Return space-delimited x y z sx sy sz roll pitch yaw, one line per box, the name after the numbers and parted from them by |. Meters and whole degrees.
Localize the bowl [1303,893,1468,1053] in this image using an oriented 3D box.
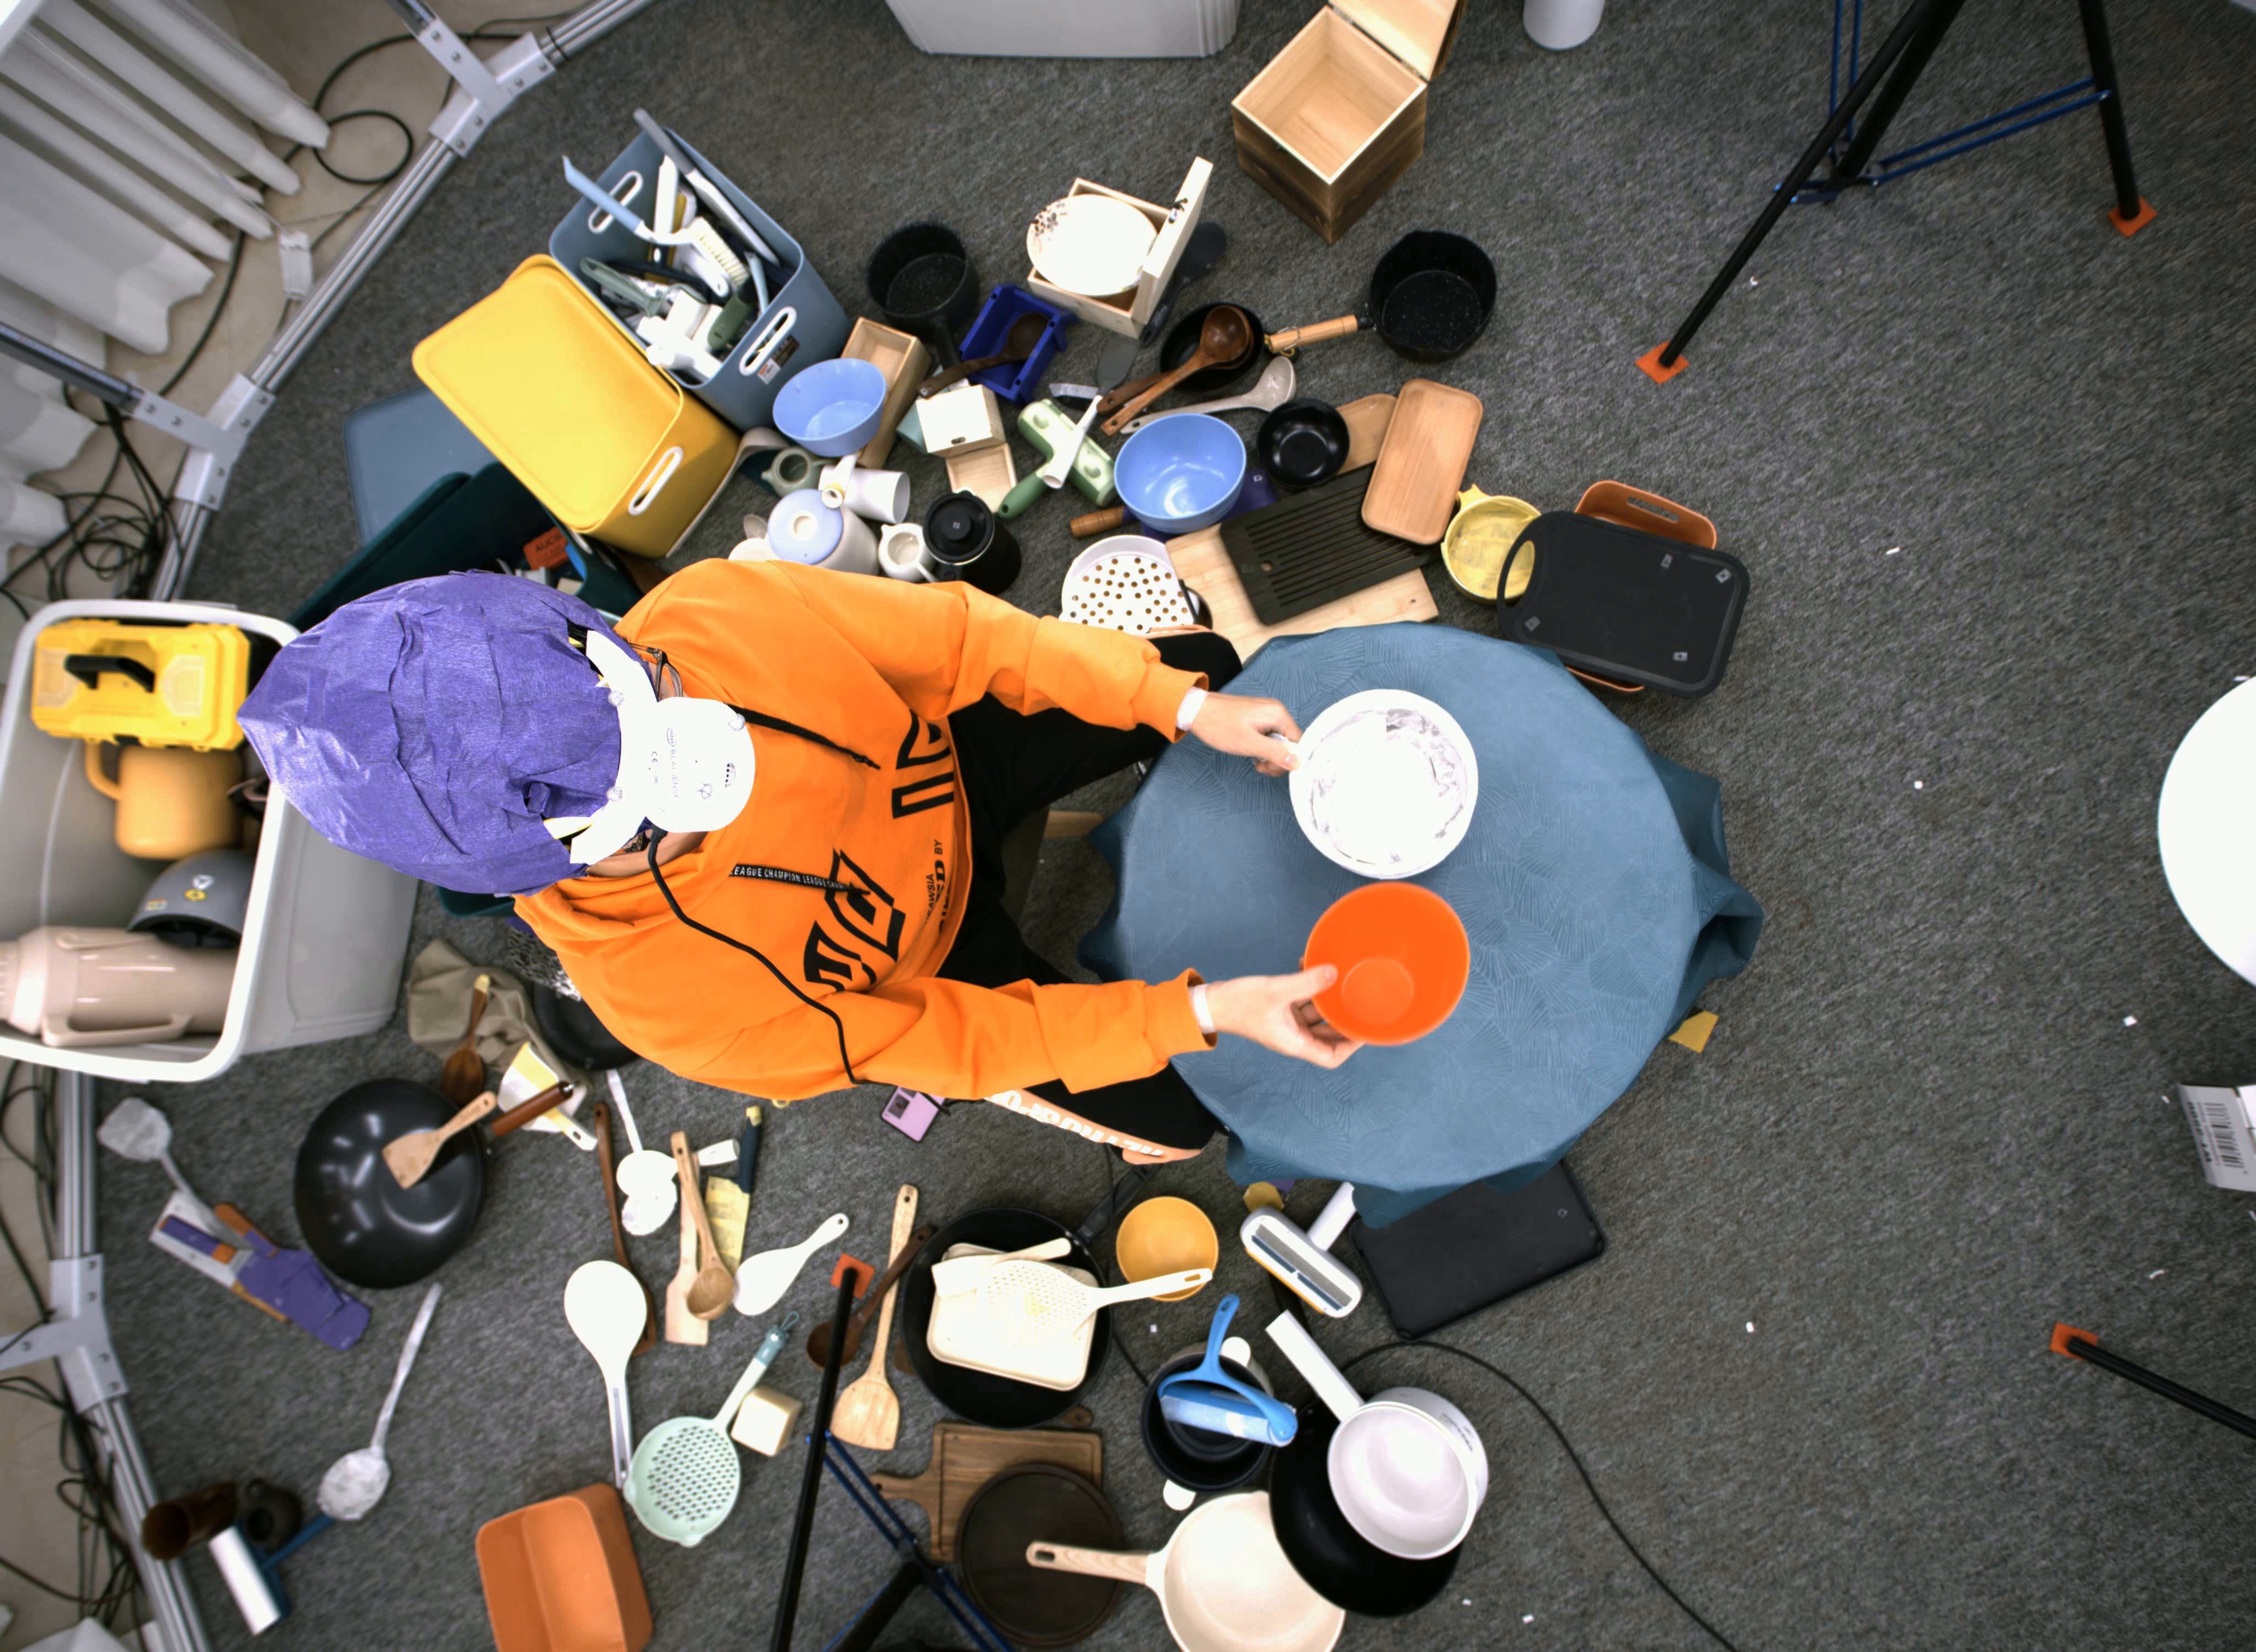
0.239 0.144 1.277 0.149 0.106 0.145 -5 69 13 | bowl

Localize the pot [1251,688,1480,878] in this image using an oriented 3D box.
0.230 -0.048 1.371 0.234 0.136 0.179 18 91 13 | pot
